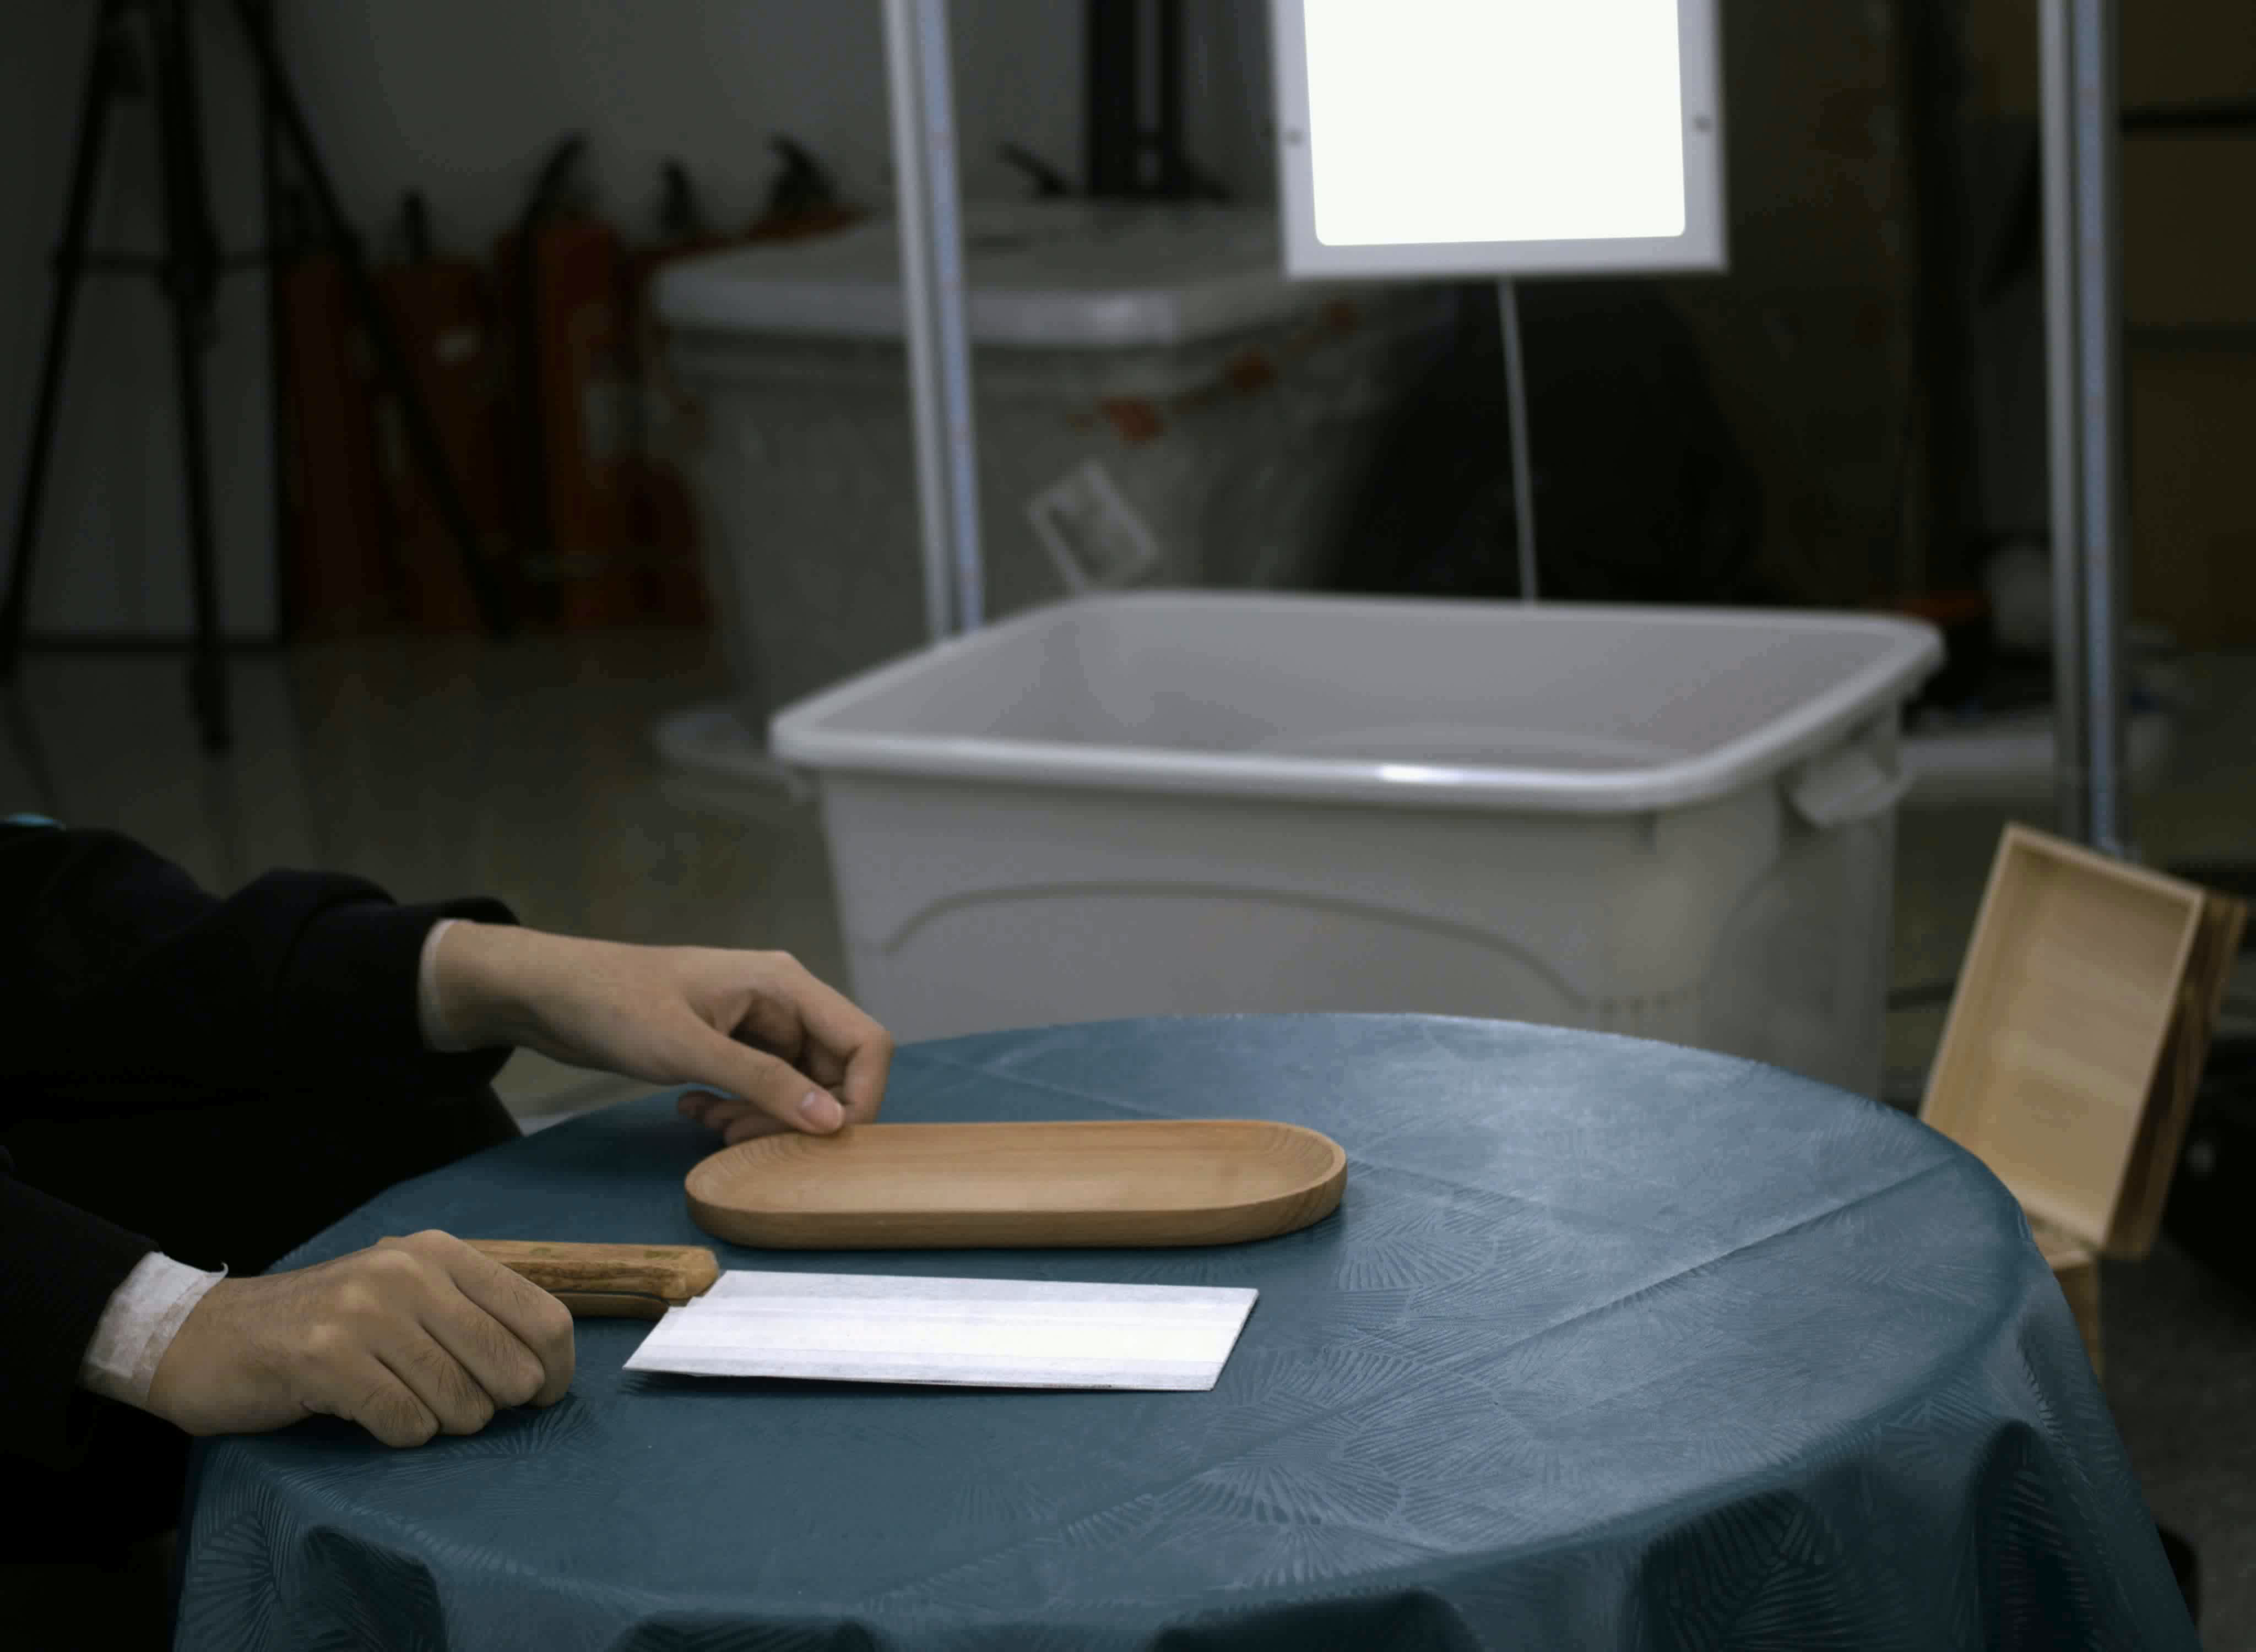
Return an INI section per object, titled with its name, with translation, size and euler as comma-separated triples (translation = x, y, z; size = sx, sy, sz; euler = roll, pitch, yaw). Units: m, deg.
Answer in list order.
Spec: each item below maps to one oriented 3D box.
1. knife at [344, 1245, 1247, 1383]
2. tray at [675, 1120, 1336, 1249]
[knife]
translation = -0.114, 0.159, 1.773
size = 0.308, 0.021, 0.092
euler = 1, 16, 14
[tray]
translation = -0.042, 0.123, 1.889
size = 0.233, 0.020, 0.100
euler = -2, 13, 15
